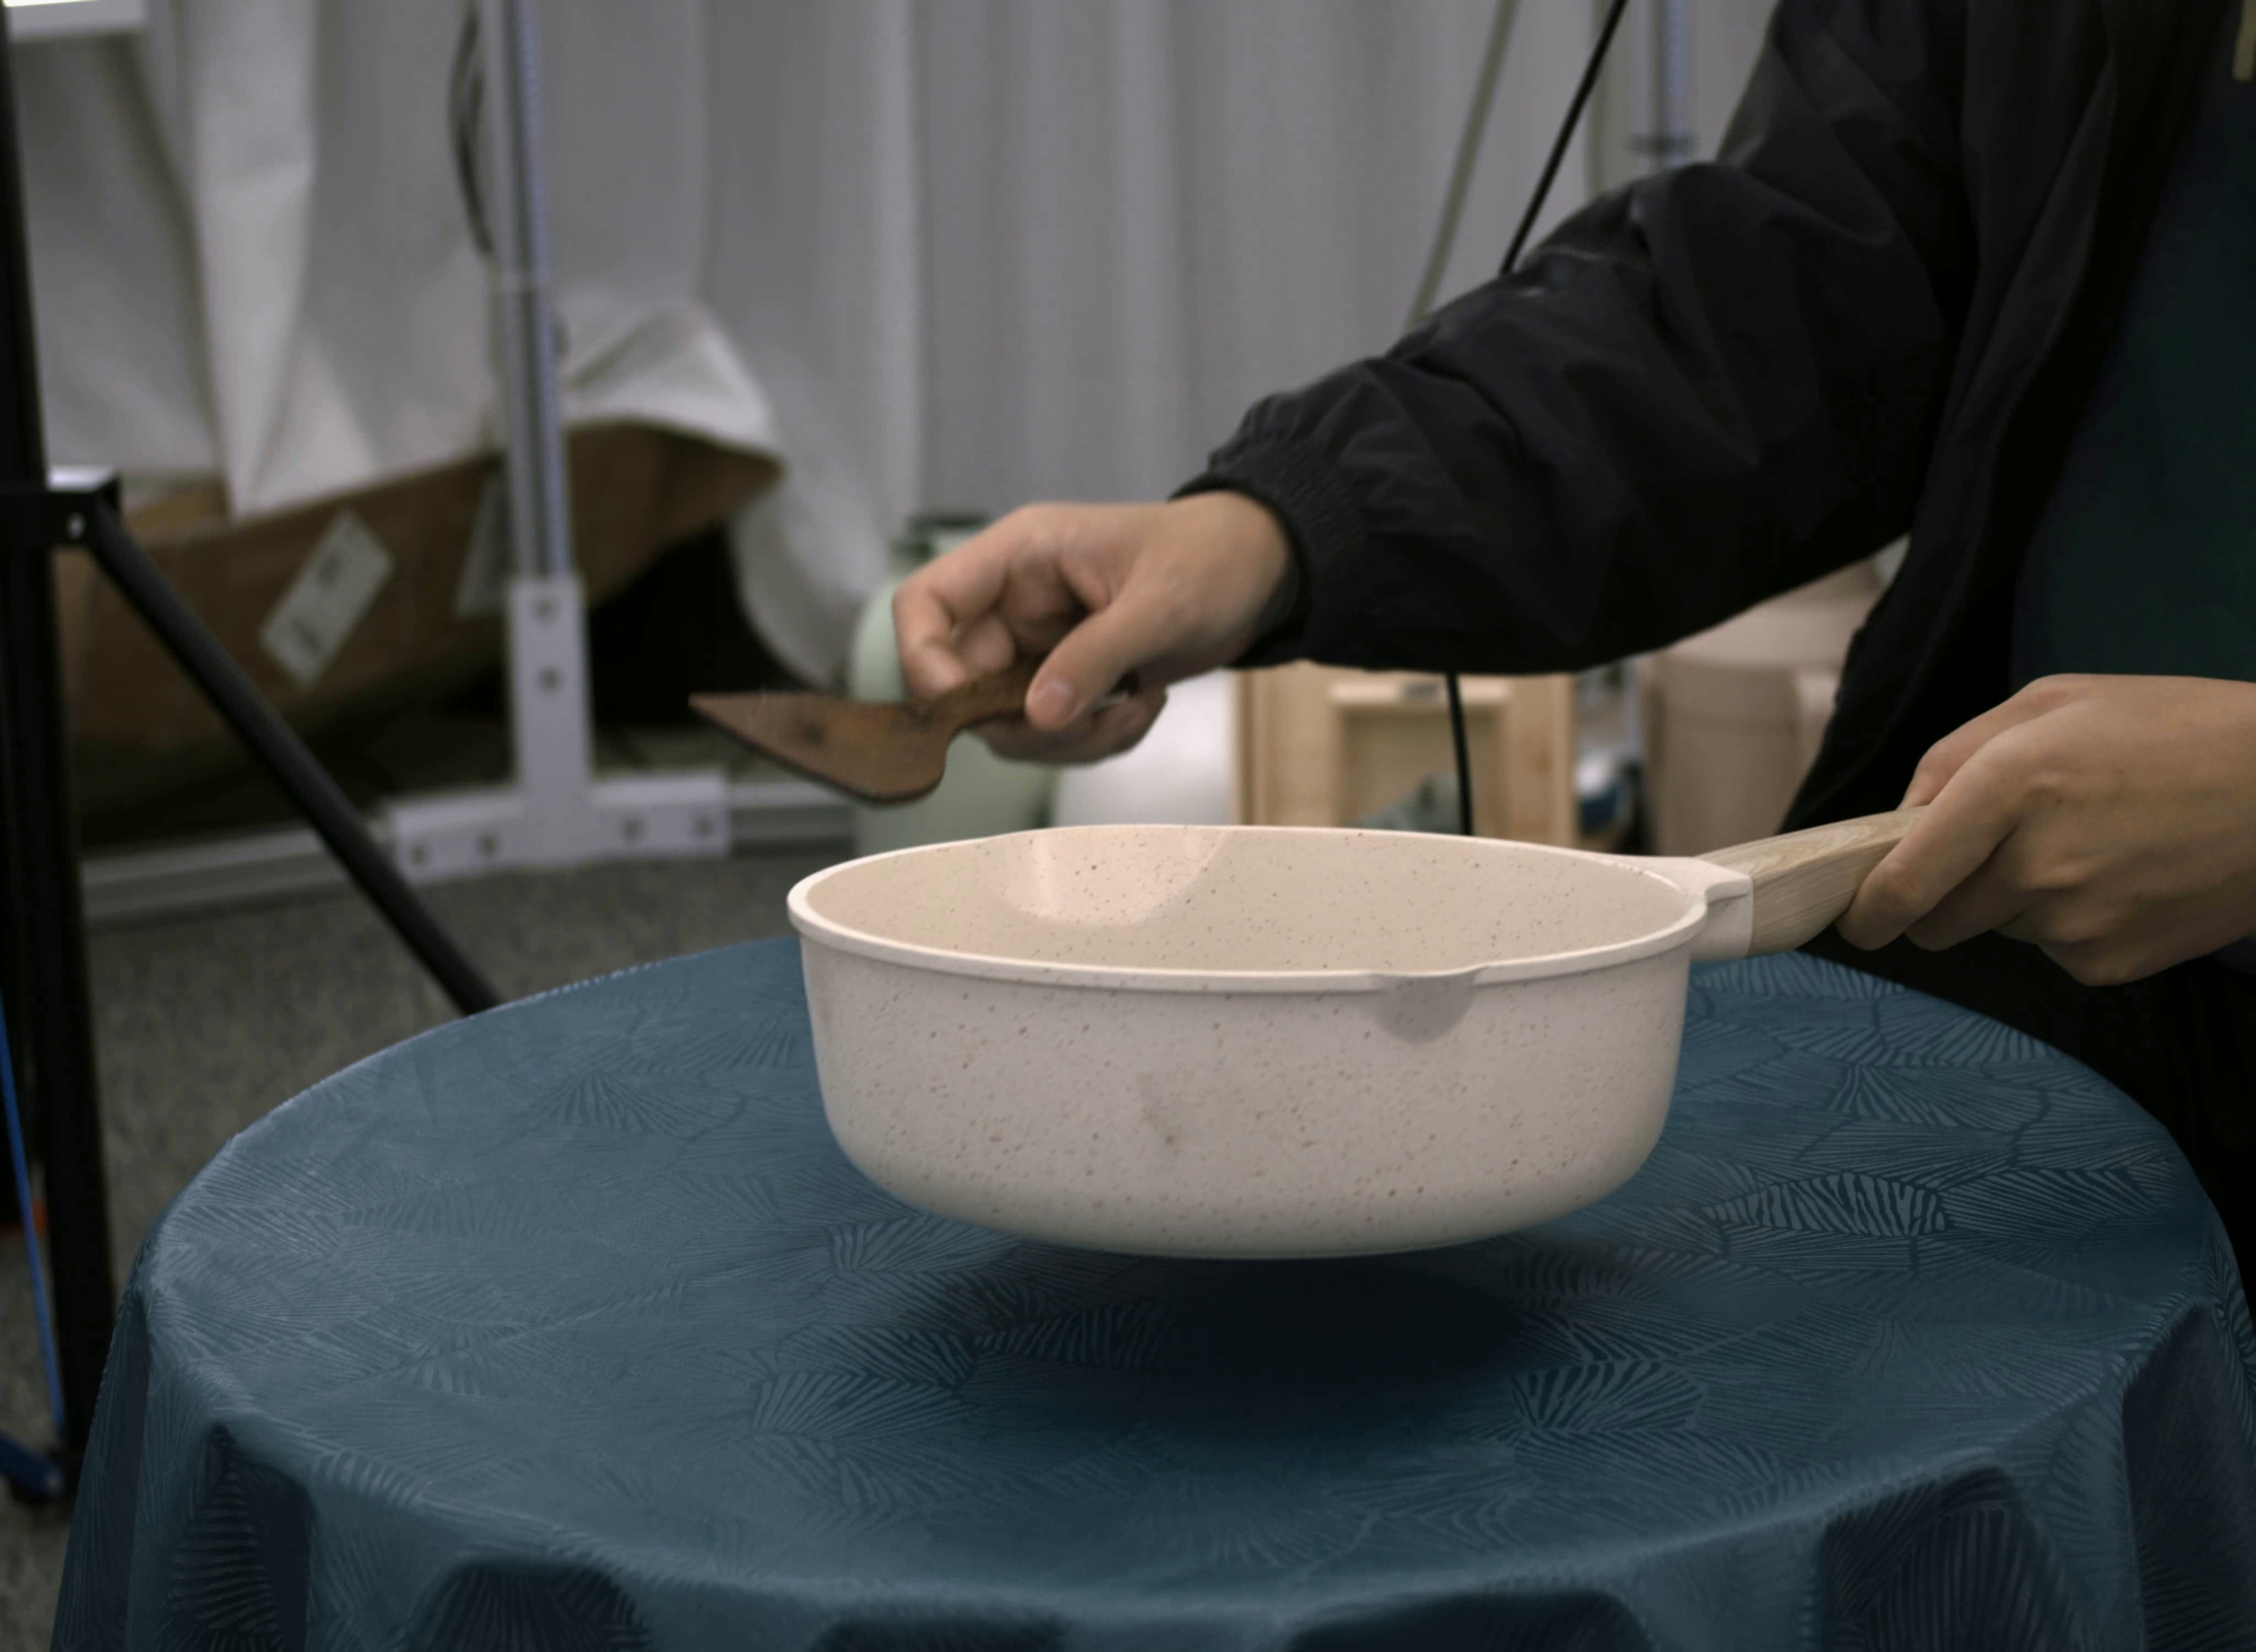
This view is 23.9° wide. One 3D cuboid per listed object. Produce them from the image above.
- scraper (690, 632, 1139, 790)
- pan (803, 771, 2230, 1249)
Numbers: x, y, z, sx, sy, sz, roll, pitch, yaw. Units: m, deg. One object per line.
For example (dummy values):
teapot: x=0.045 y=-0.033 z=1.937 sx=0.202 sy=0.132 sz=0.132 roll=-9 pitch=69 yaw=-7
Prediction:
scraper: x=-0.057 y=-0.042 z=1.702 sx=0.077 sy=0.011 sz=0.207 roll=27 pitch=22 yaw=25
pan: x=0.122 y=0.046 z=1.474 sx=0.426 sy=0.102 sz=0.267 roll=-2 pitch=7 yaw=-20
